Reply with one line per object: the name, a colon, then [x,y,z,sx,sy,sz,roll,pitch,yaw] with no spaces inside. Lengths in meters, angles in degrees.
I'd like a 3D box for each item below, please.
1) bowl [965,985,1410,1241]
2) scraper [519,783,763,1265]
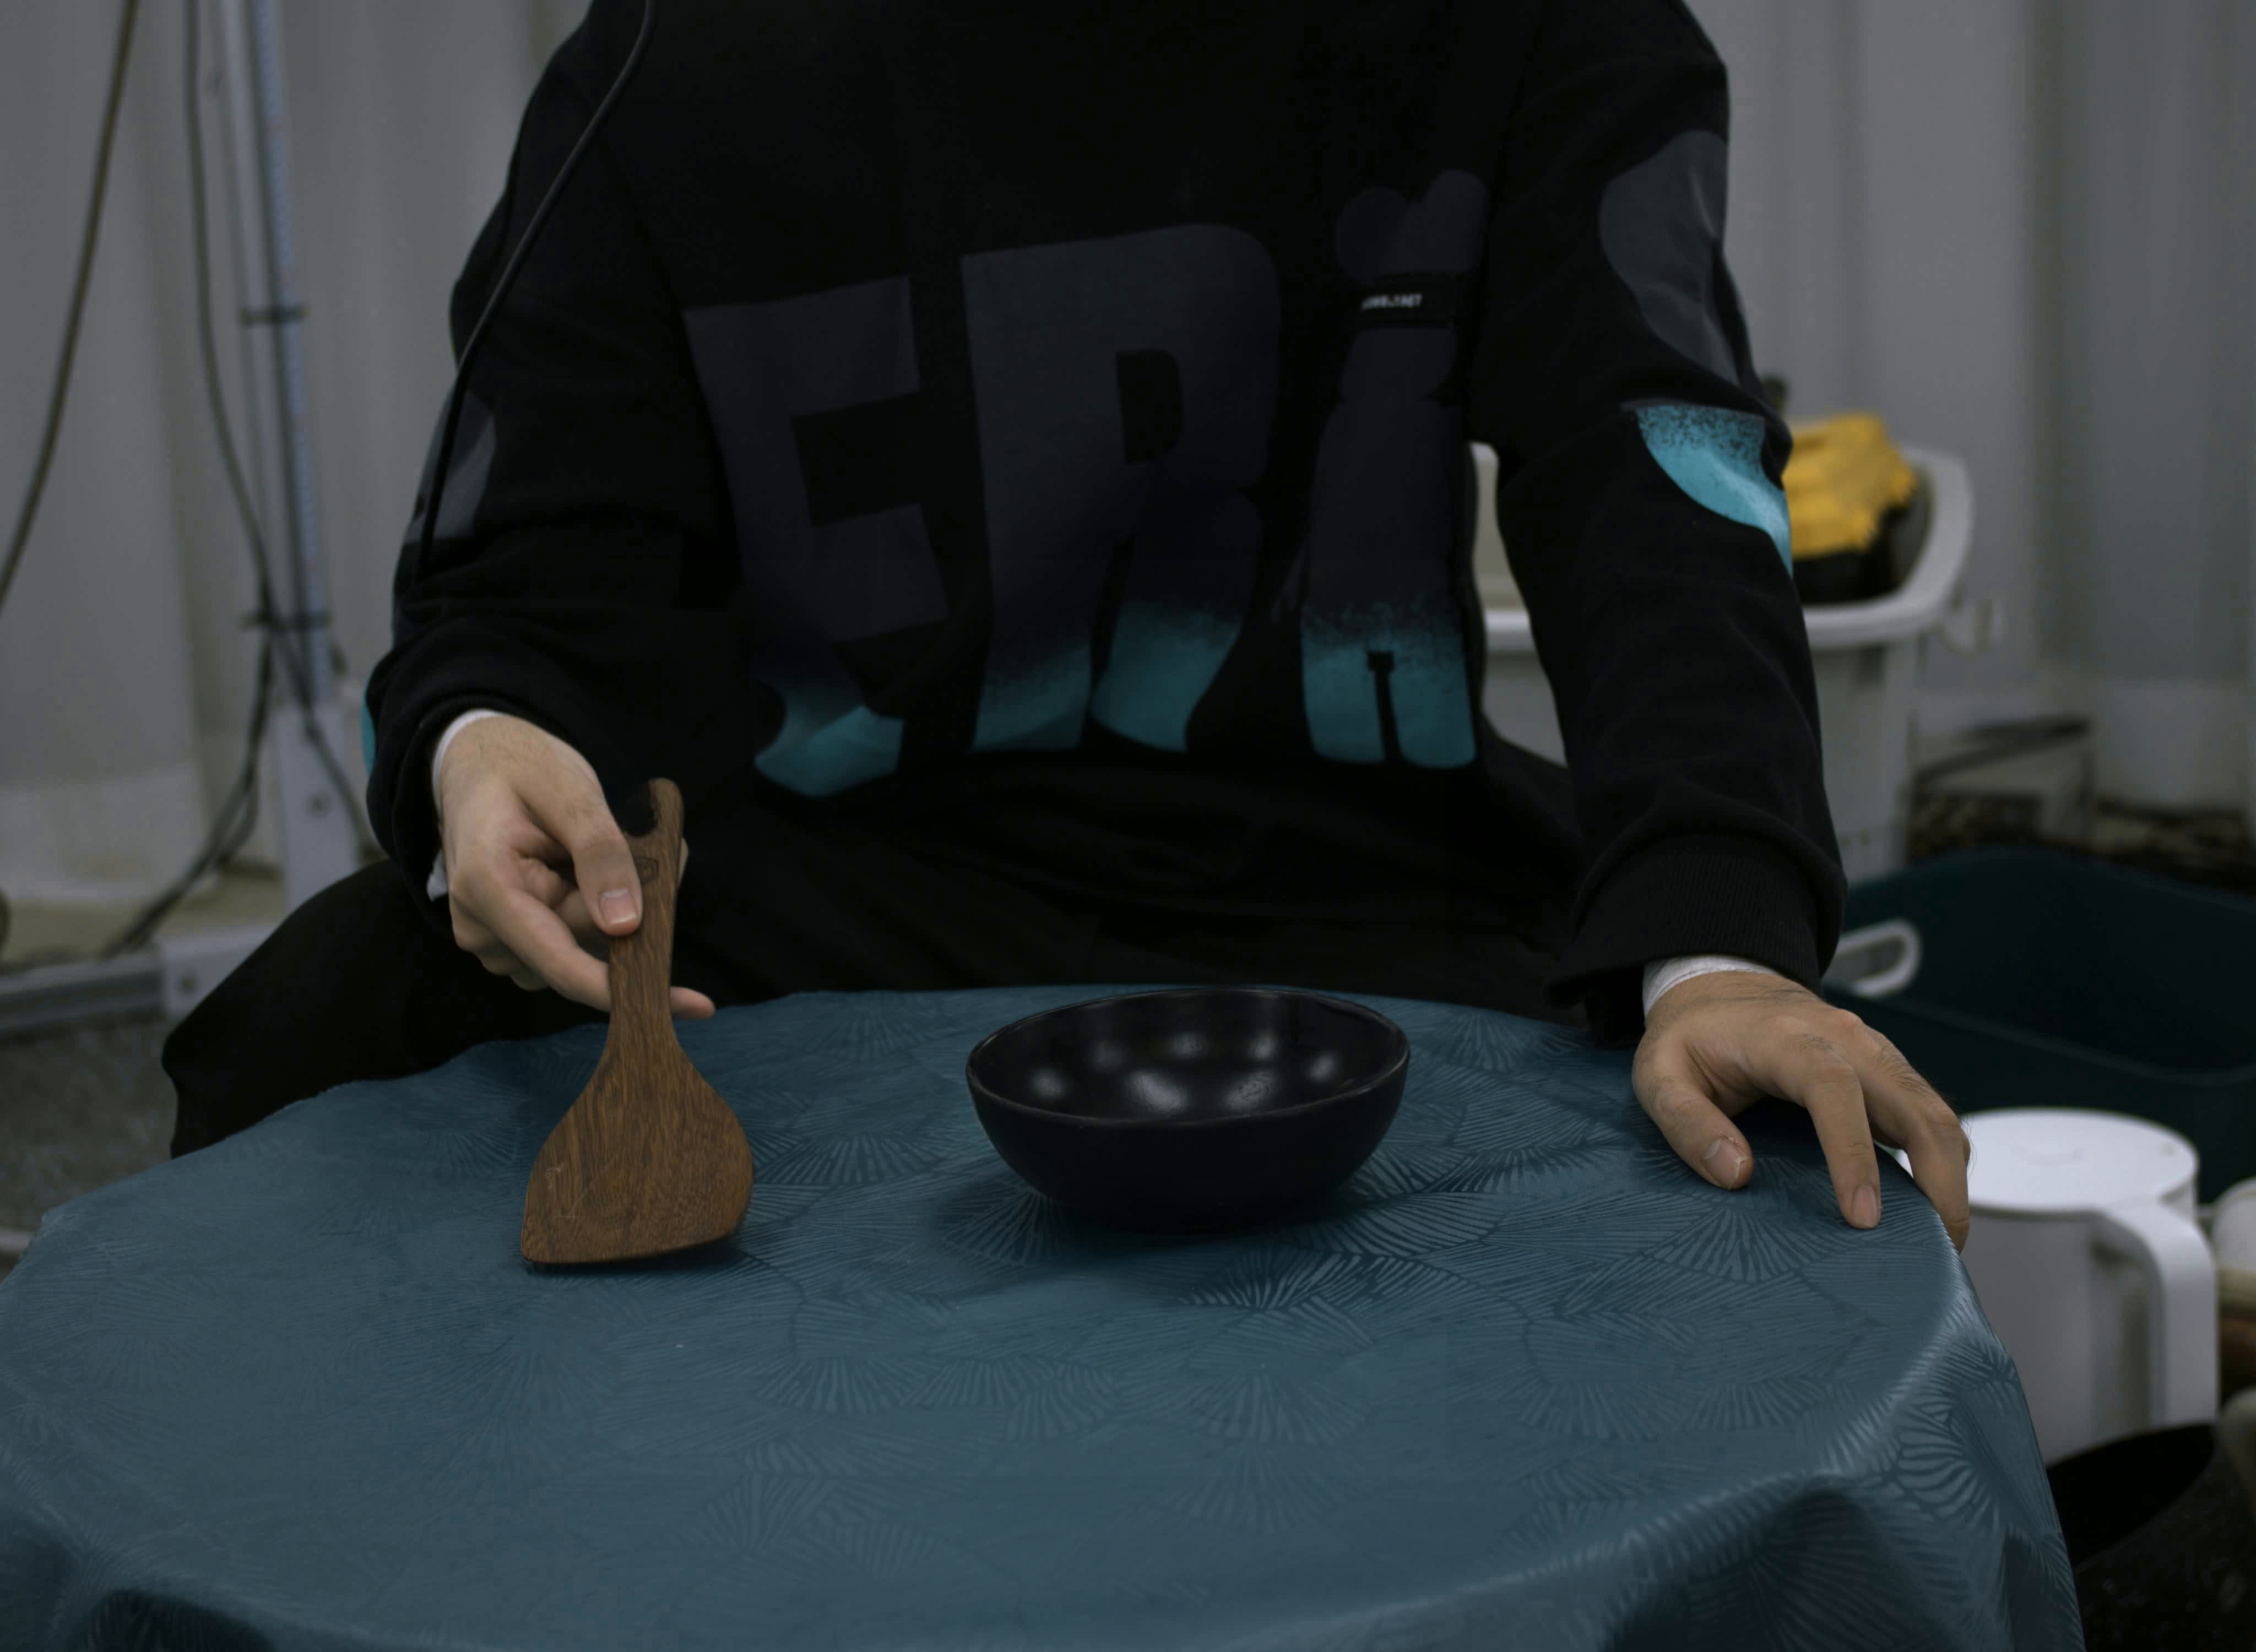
bowl: [0.021,0.094,1.696,0.139,0.049,0.141,-5,15,1]
scraper: [-0.153,0.060,1.736,0.075,0.010,0.214,-8,43,3]
